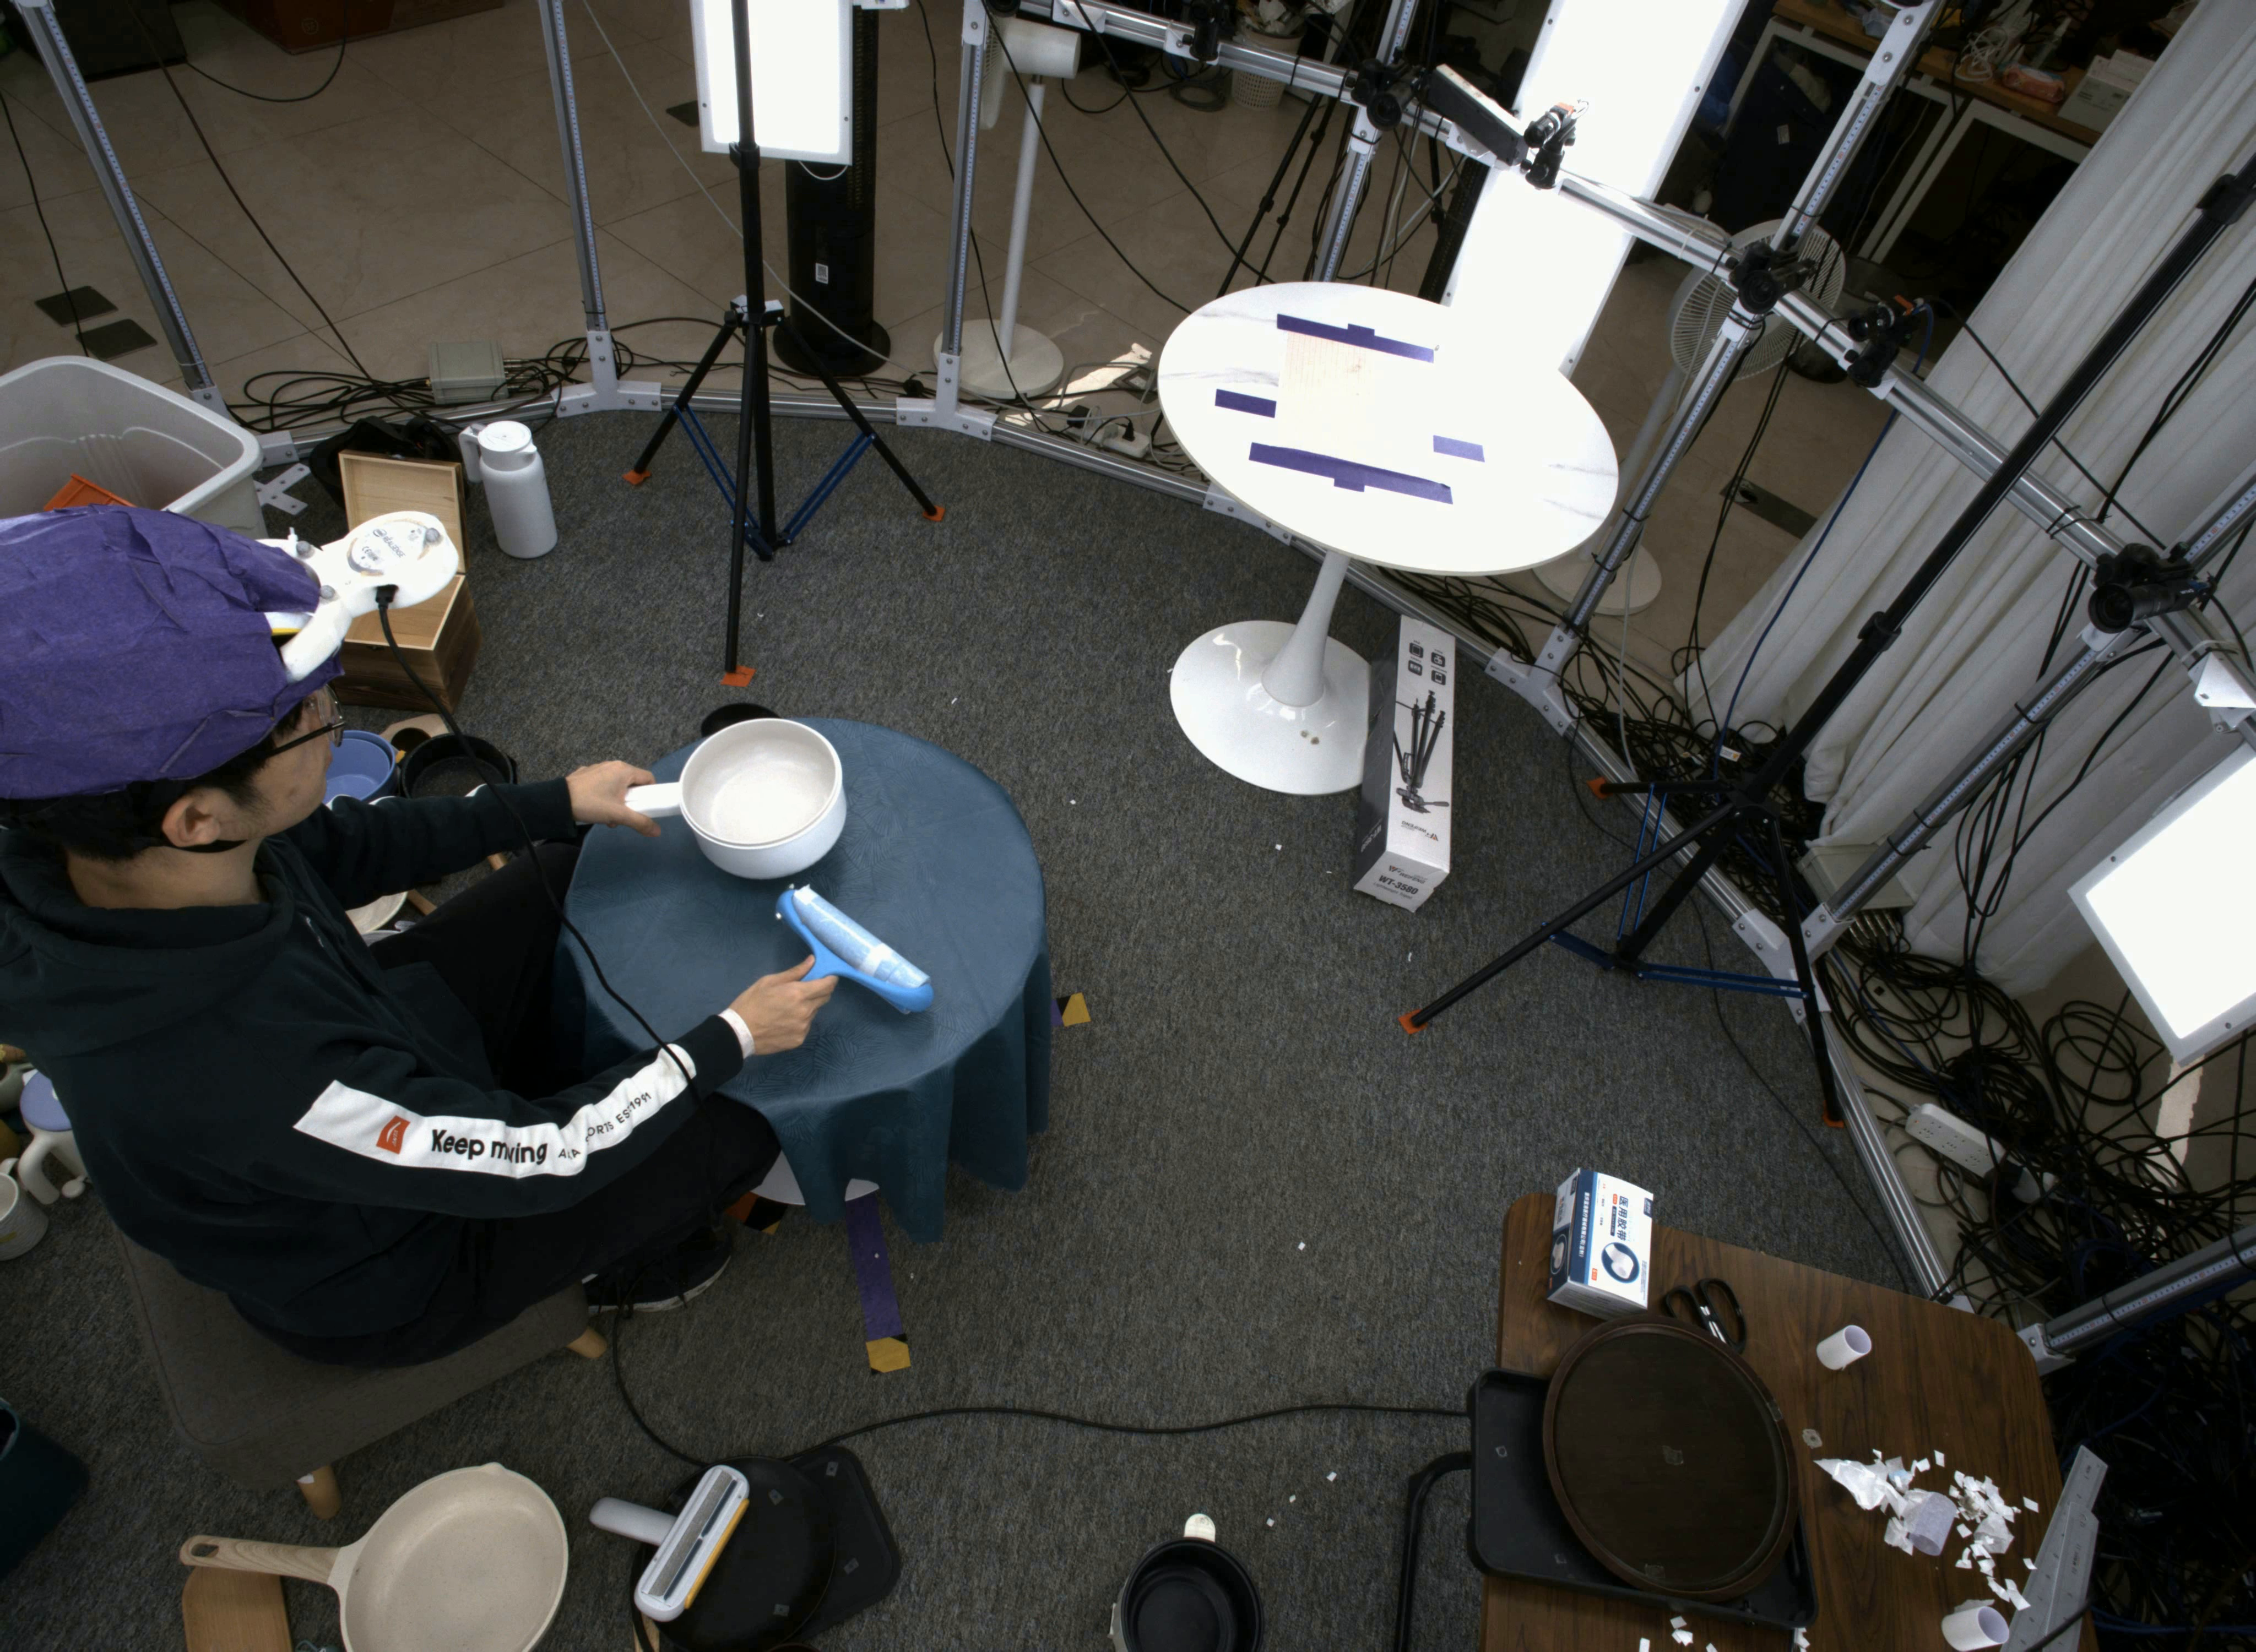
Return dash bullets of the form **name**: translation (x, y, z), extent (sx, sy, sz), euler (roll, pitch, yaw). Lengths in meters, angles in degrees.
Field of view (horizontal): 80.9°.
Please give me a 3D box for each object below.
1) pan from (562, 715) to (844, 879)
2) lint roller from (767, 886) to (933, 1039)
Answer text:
- **pan**: translation (-0.535, -0.023, 1.626), extent (0.353, 0.104, 0.197), euler (-7, 58, -8)
- **lint roller**: translation (-0.358, 0.177, 1.538), extent (0.227, 0.069, 0.179), euler (35, 42, 3)
